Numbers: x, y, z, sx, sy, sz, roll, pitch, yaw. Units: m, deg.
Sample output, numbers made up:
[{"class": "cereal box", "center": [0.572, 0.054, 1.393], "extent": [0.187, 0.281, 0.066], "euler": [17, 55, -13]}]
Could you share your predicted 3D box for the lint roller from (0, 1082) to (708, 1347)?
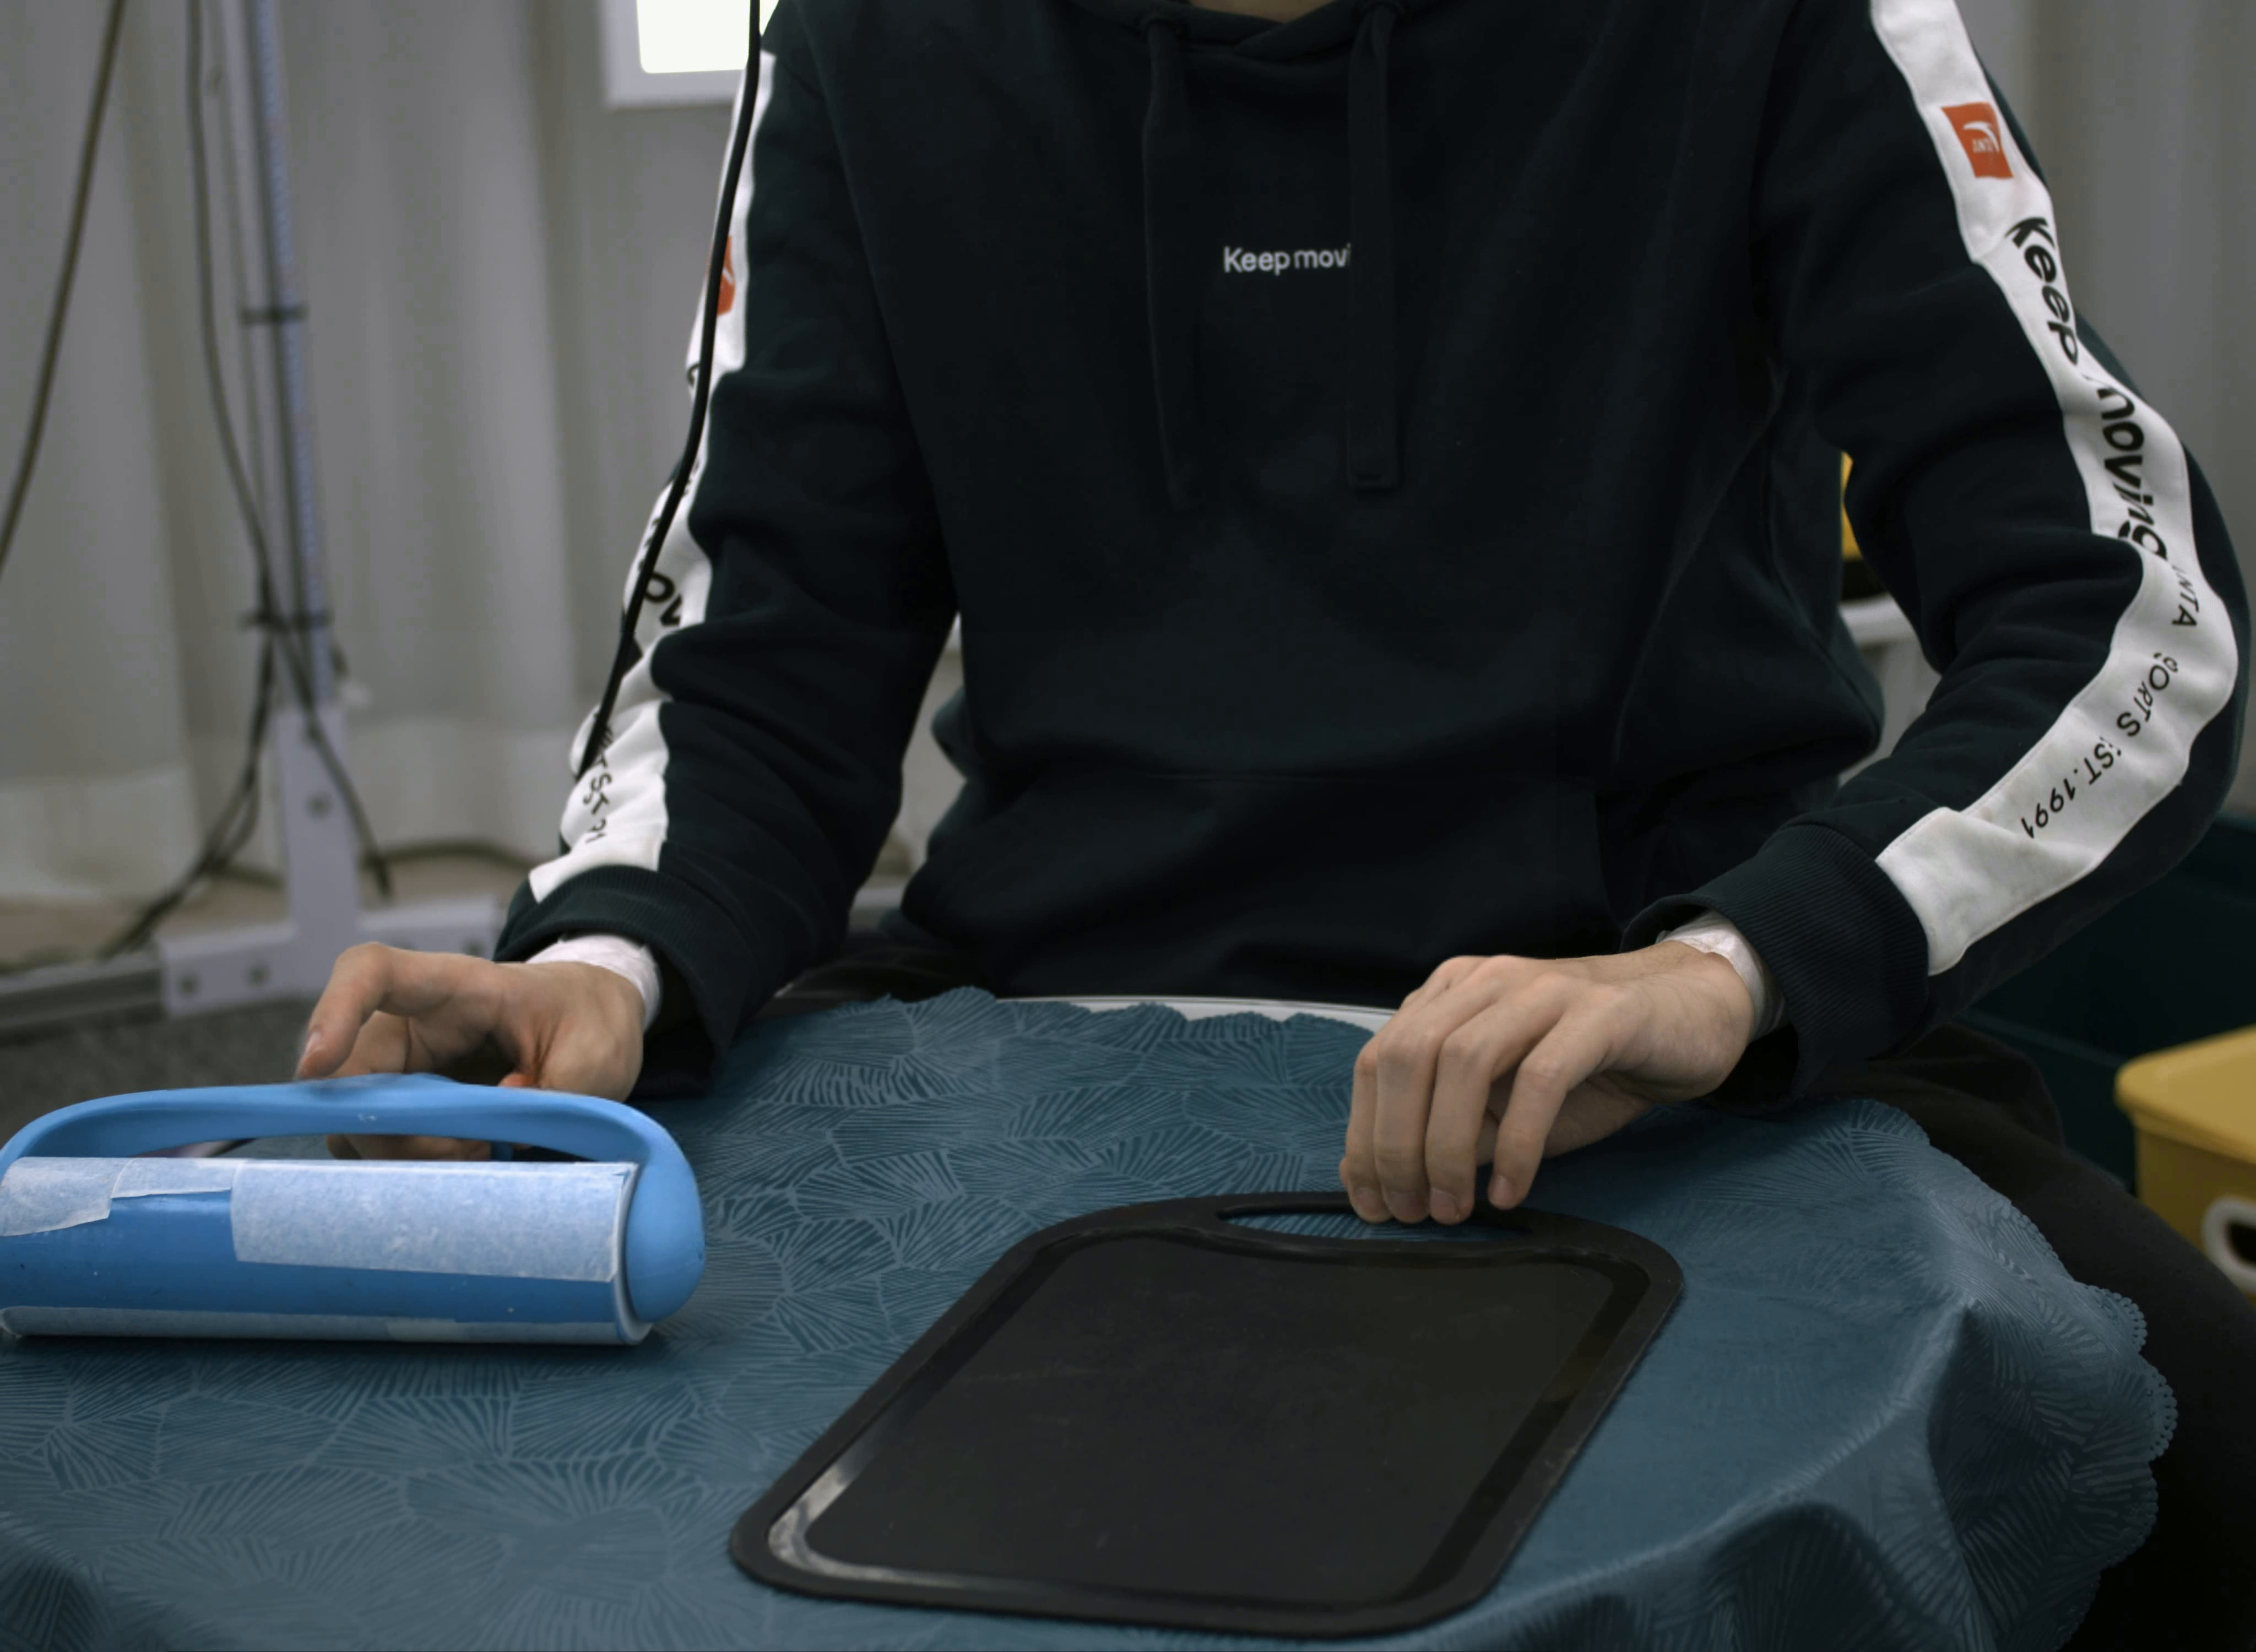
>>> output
[{"class": "lint roller", "center": [-0.228, 0.109, 1.673], "extent": [0.228, 0.067, 0.181], "euler": [-2, 16, 8]}]

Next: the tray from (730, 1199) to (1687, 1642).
[{"class": "tray", "center": [0.031, 0.157, 1.535], "extent": [0.211, 0.010, 0.326], "euler": [2, 16, 19]}]
